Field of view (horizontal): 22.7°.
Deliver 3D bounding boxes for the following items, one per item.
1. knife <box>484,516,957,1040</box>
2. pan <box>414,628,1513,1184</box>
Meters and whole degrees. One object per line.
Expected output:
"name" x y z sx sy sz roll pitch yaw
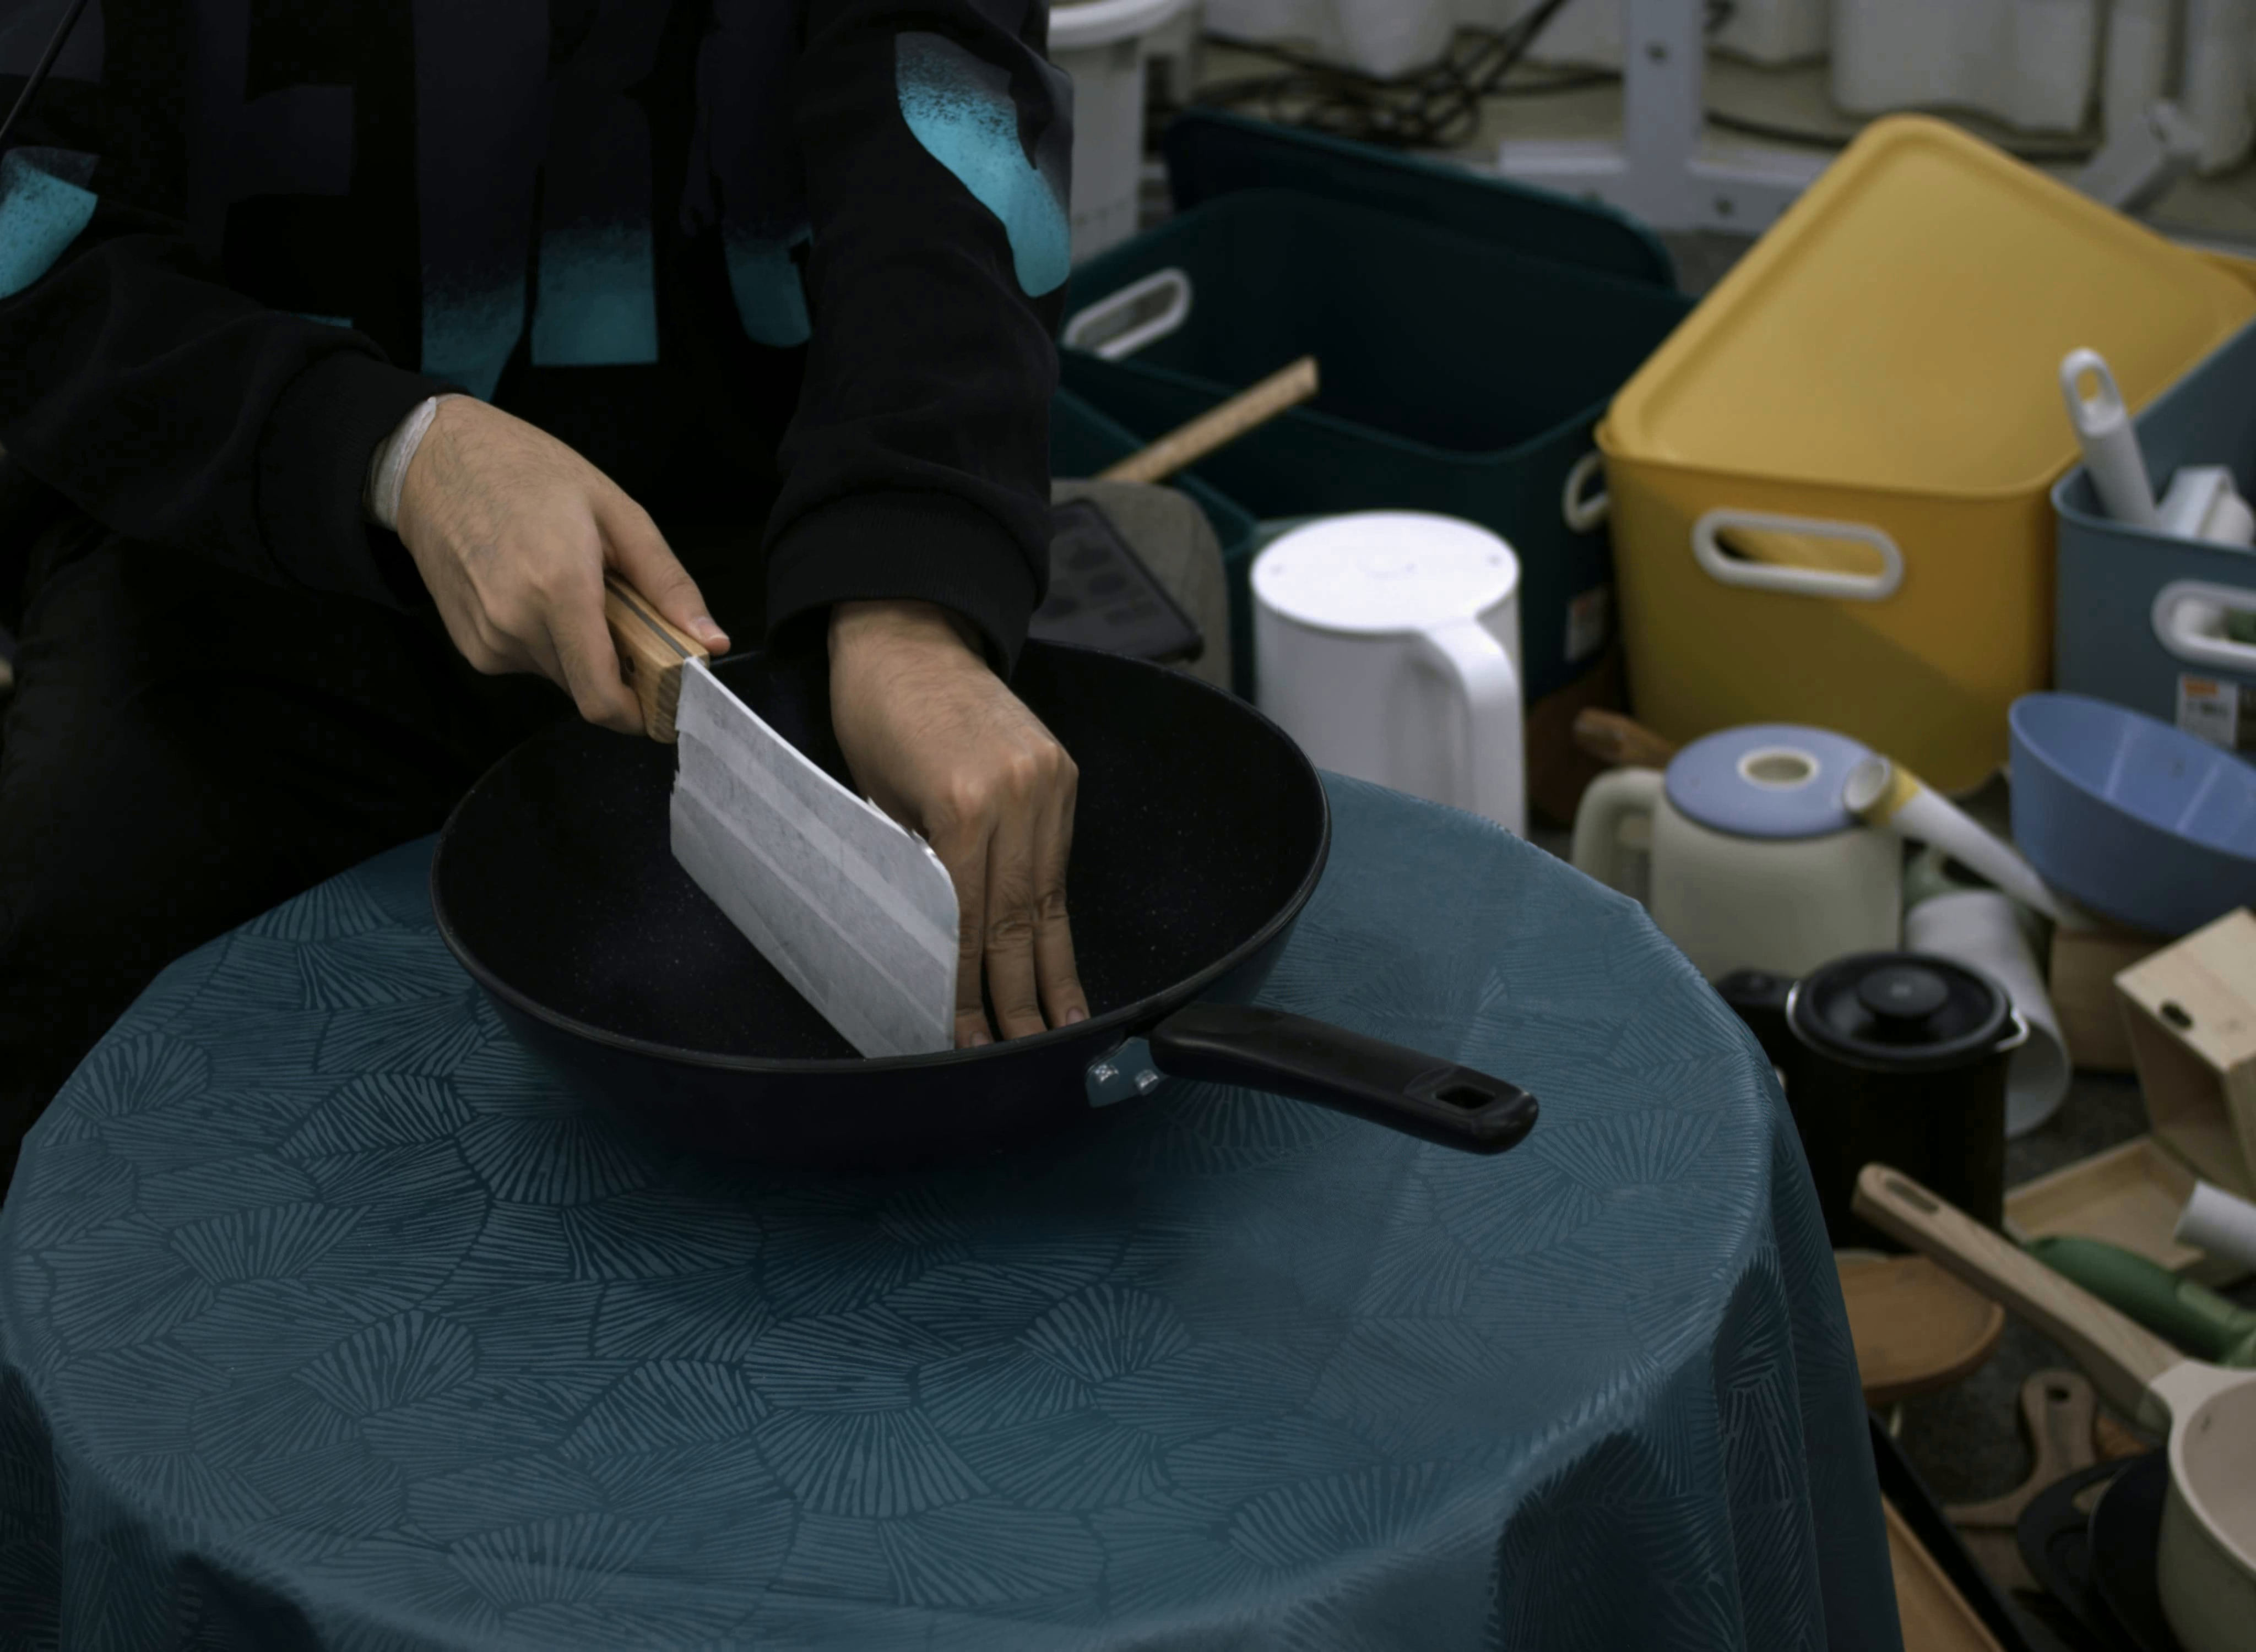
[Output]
"knife" -0.140 -0.018 1.942 0.022 0.112 0.317 -15 41 -31
"pan" -0.036 0.057 1.877 0.313 0.110 0.477 -24 34 -32
